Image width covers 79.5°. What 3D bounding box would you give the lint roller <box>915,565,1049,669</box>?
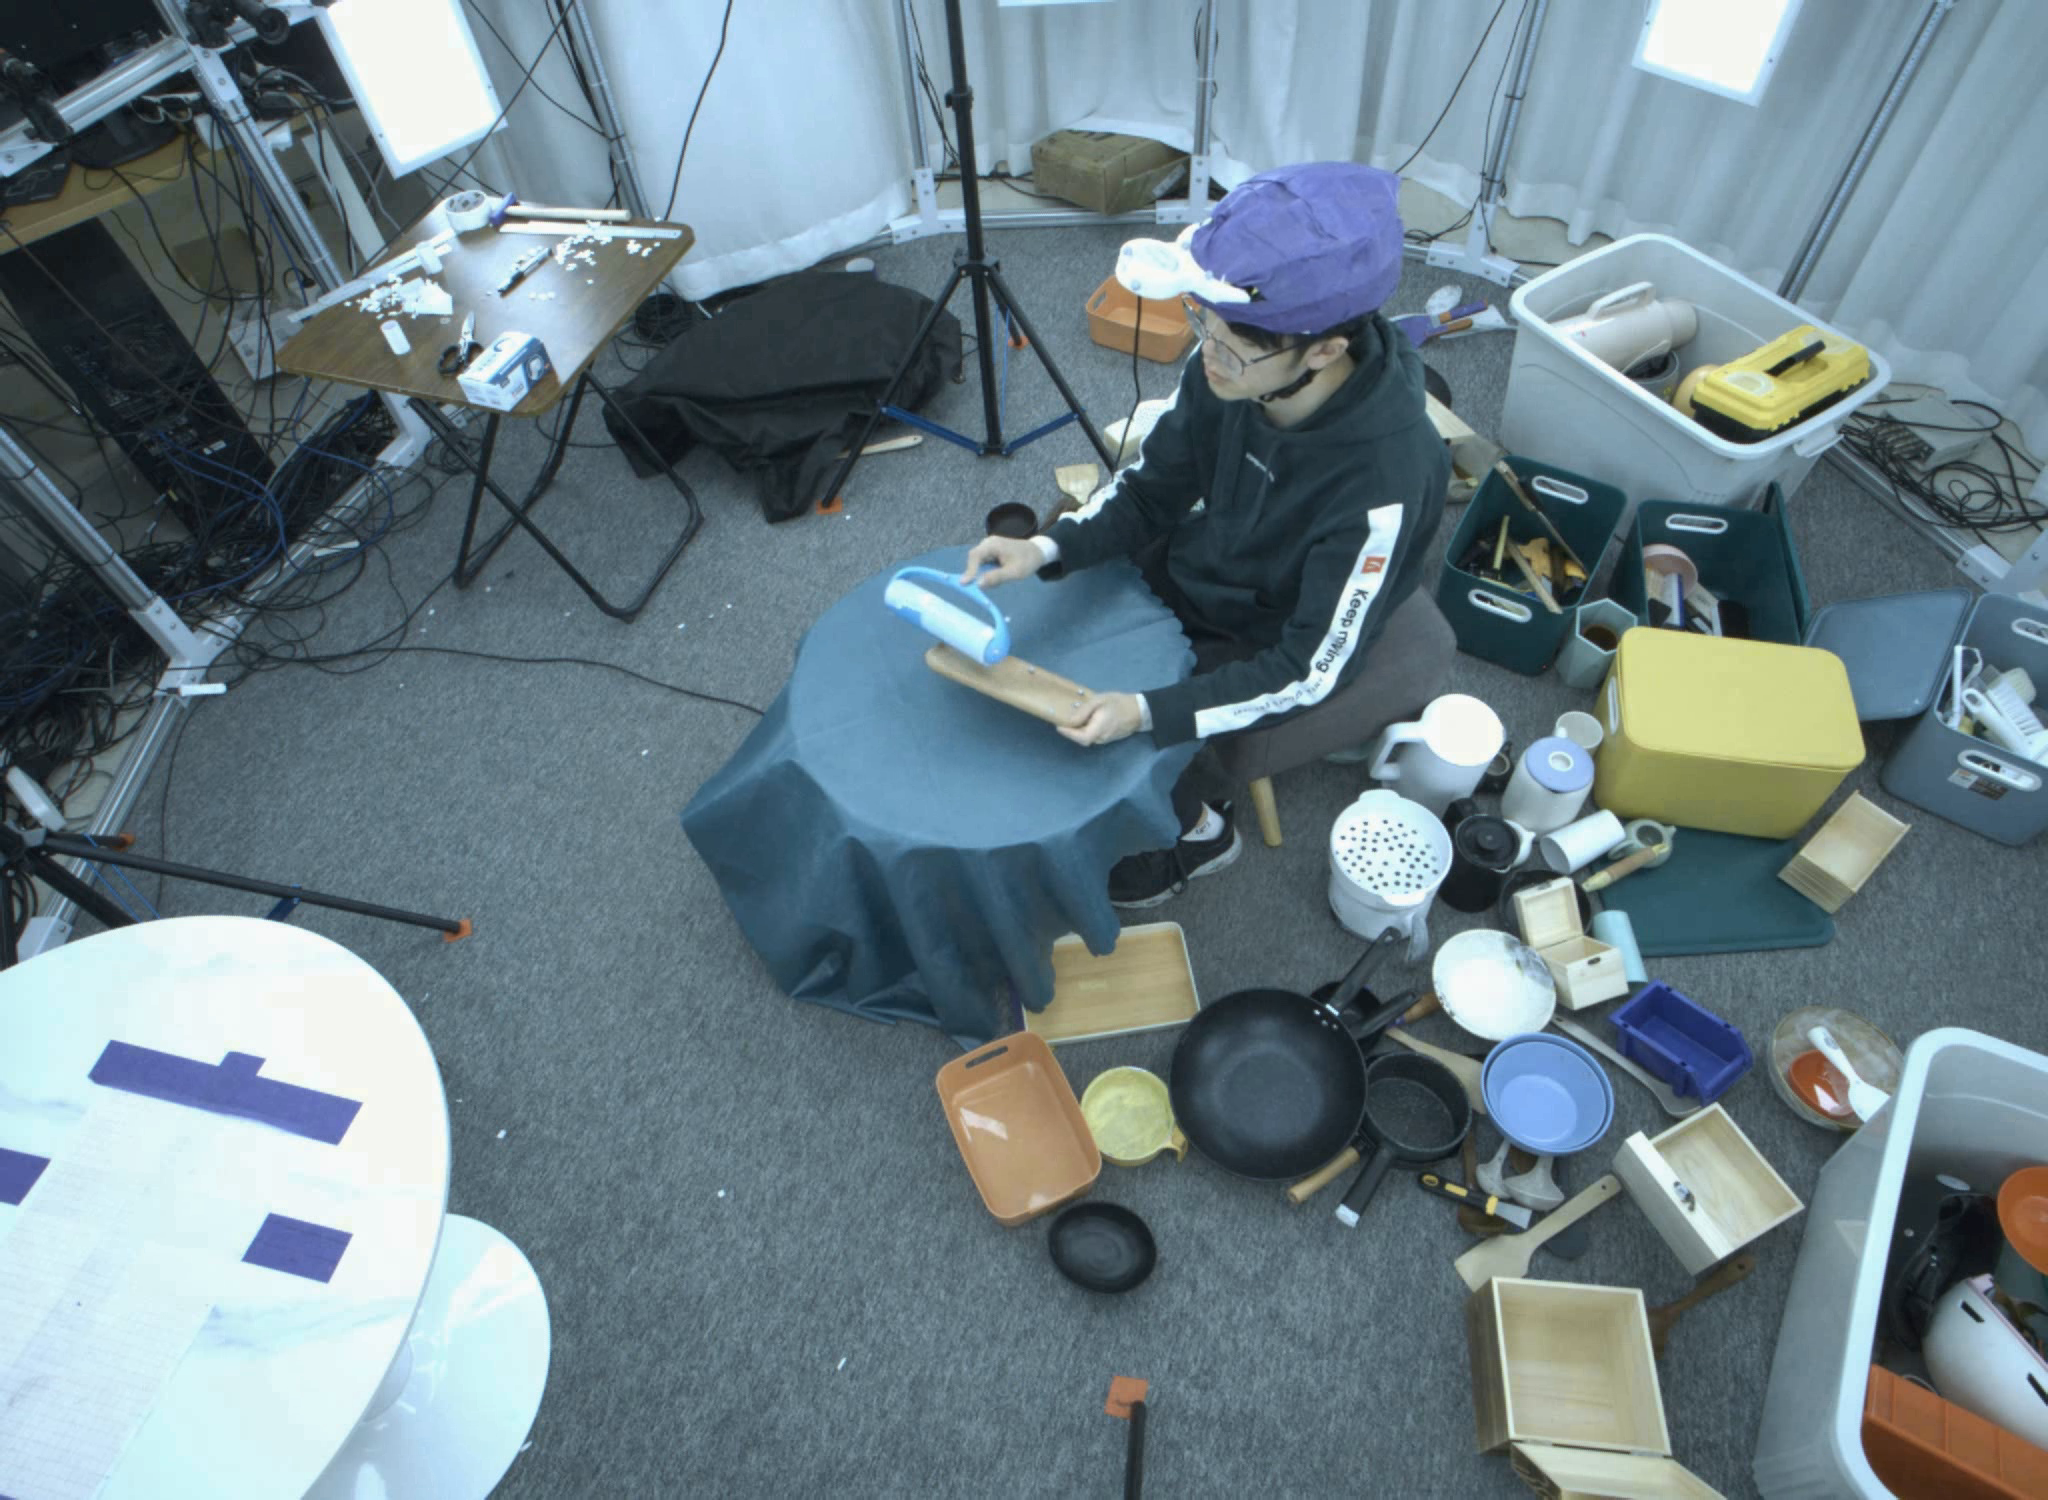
[{"bbox_3d":[-0.033,-0.224,1.777,0.224,0.069,0.181,29,66,27],"label":"lint roller"}]

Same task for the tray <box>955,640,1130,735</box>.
[{"bbox_3d":[0.027,-0.095,1.762,0.249,0.023,0.131,26,27,9],"label":"tray"}]
